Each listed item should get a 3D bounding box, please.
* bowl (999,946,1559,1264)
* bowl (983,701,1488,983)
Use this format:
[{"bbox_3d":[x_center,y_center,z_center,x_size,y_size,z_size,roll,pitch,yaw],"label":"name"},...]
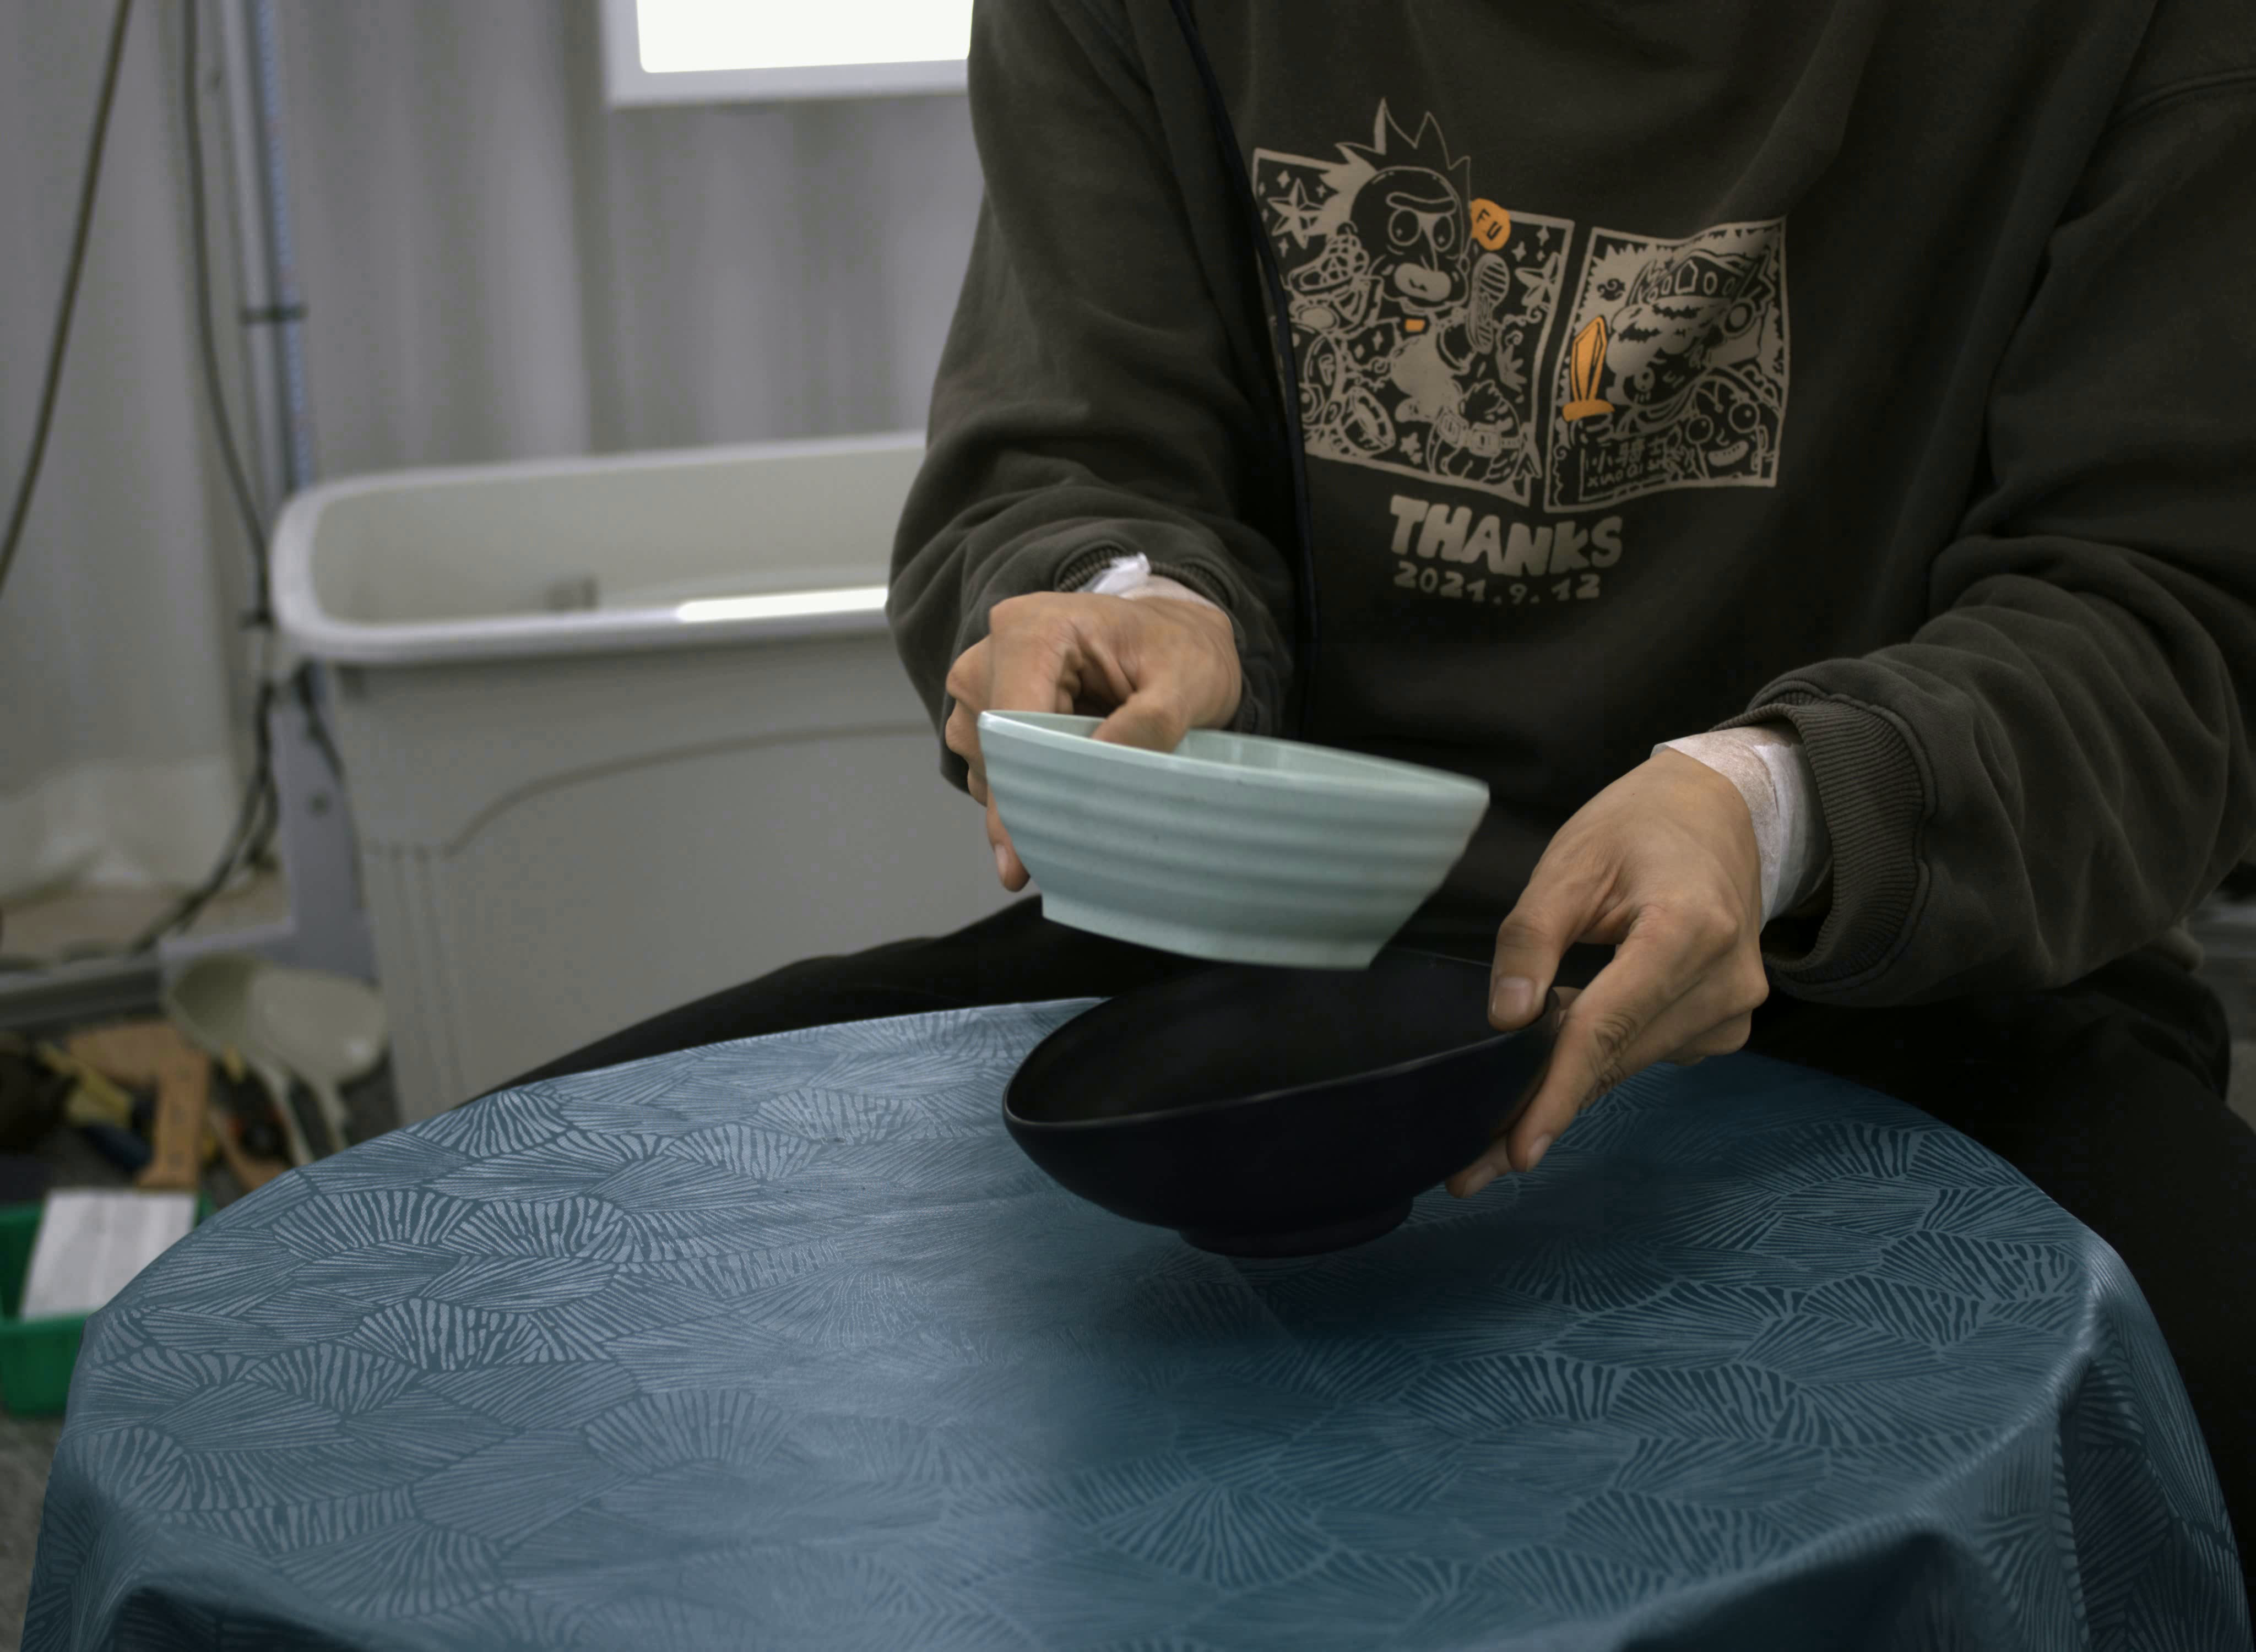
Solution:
[{"bbox_3d":[0.048,0.088,1.614,0.169,0.066,0.138,-11,14,-16],"label":"bowl"},{"bbox_3d":[0.026,0.007,1.606,0.151,0.058,0.152,11,7,-2],"label":"bowl"}]
